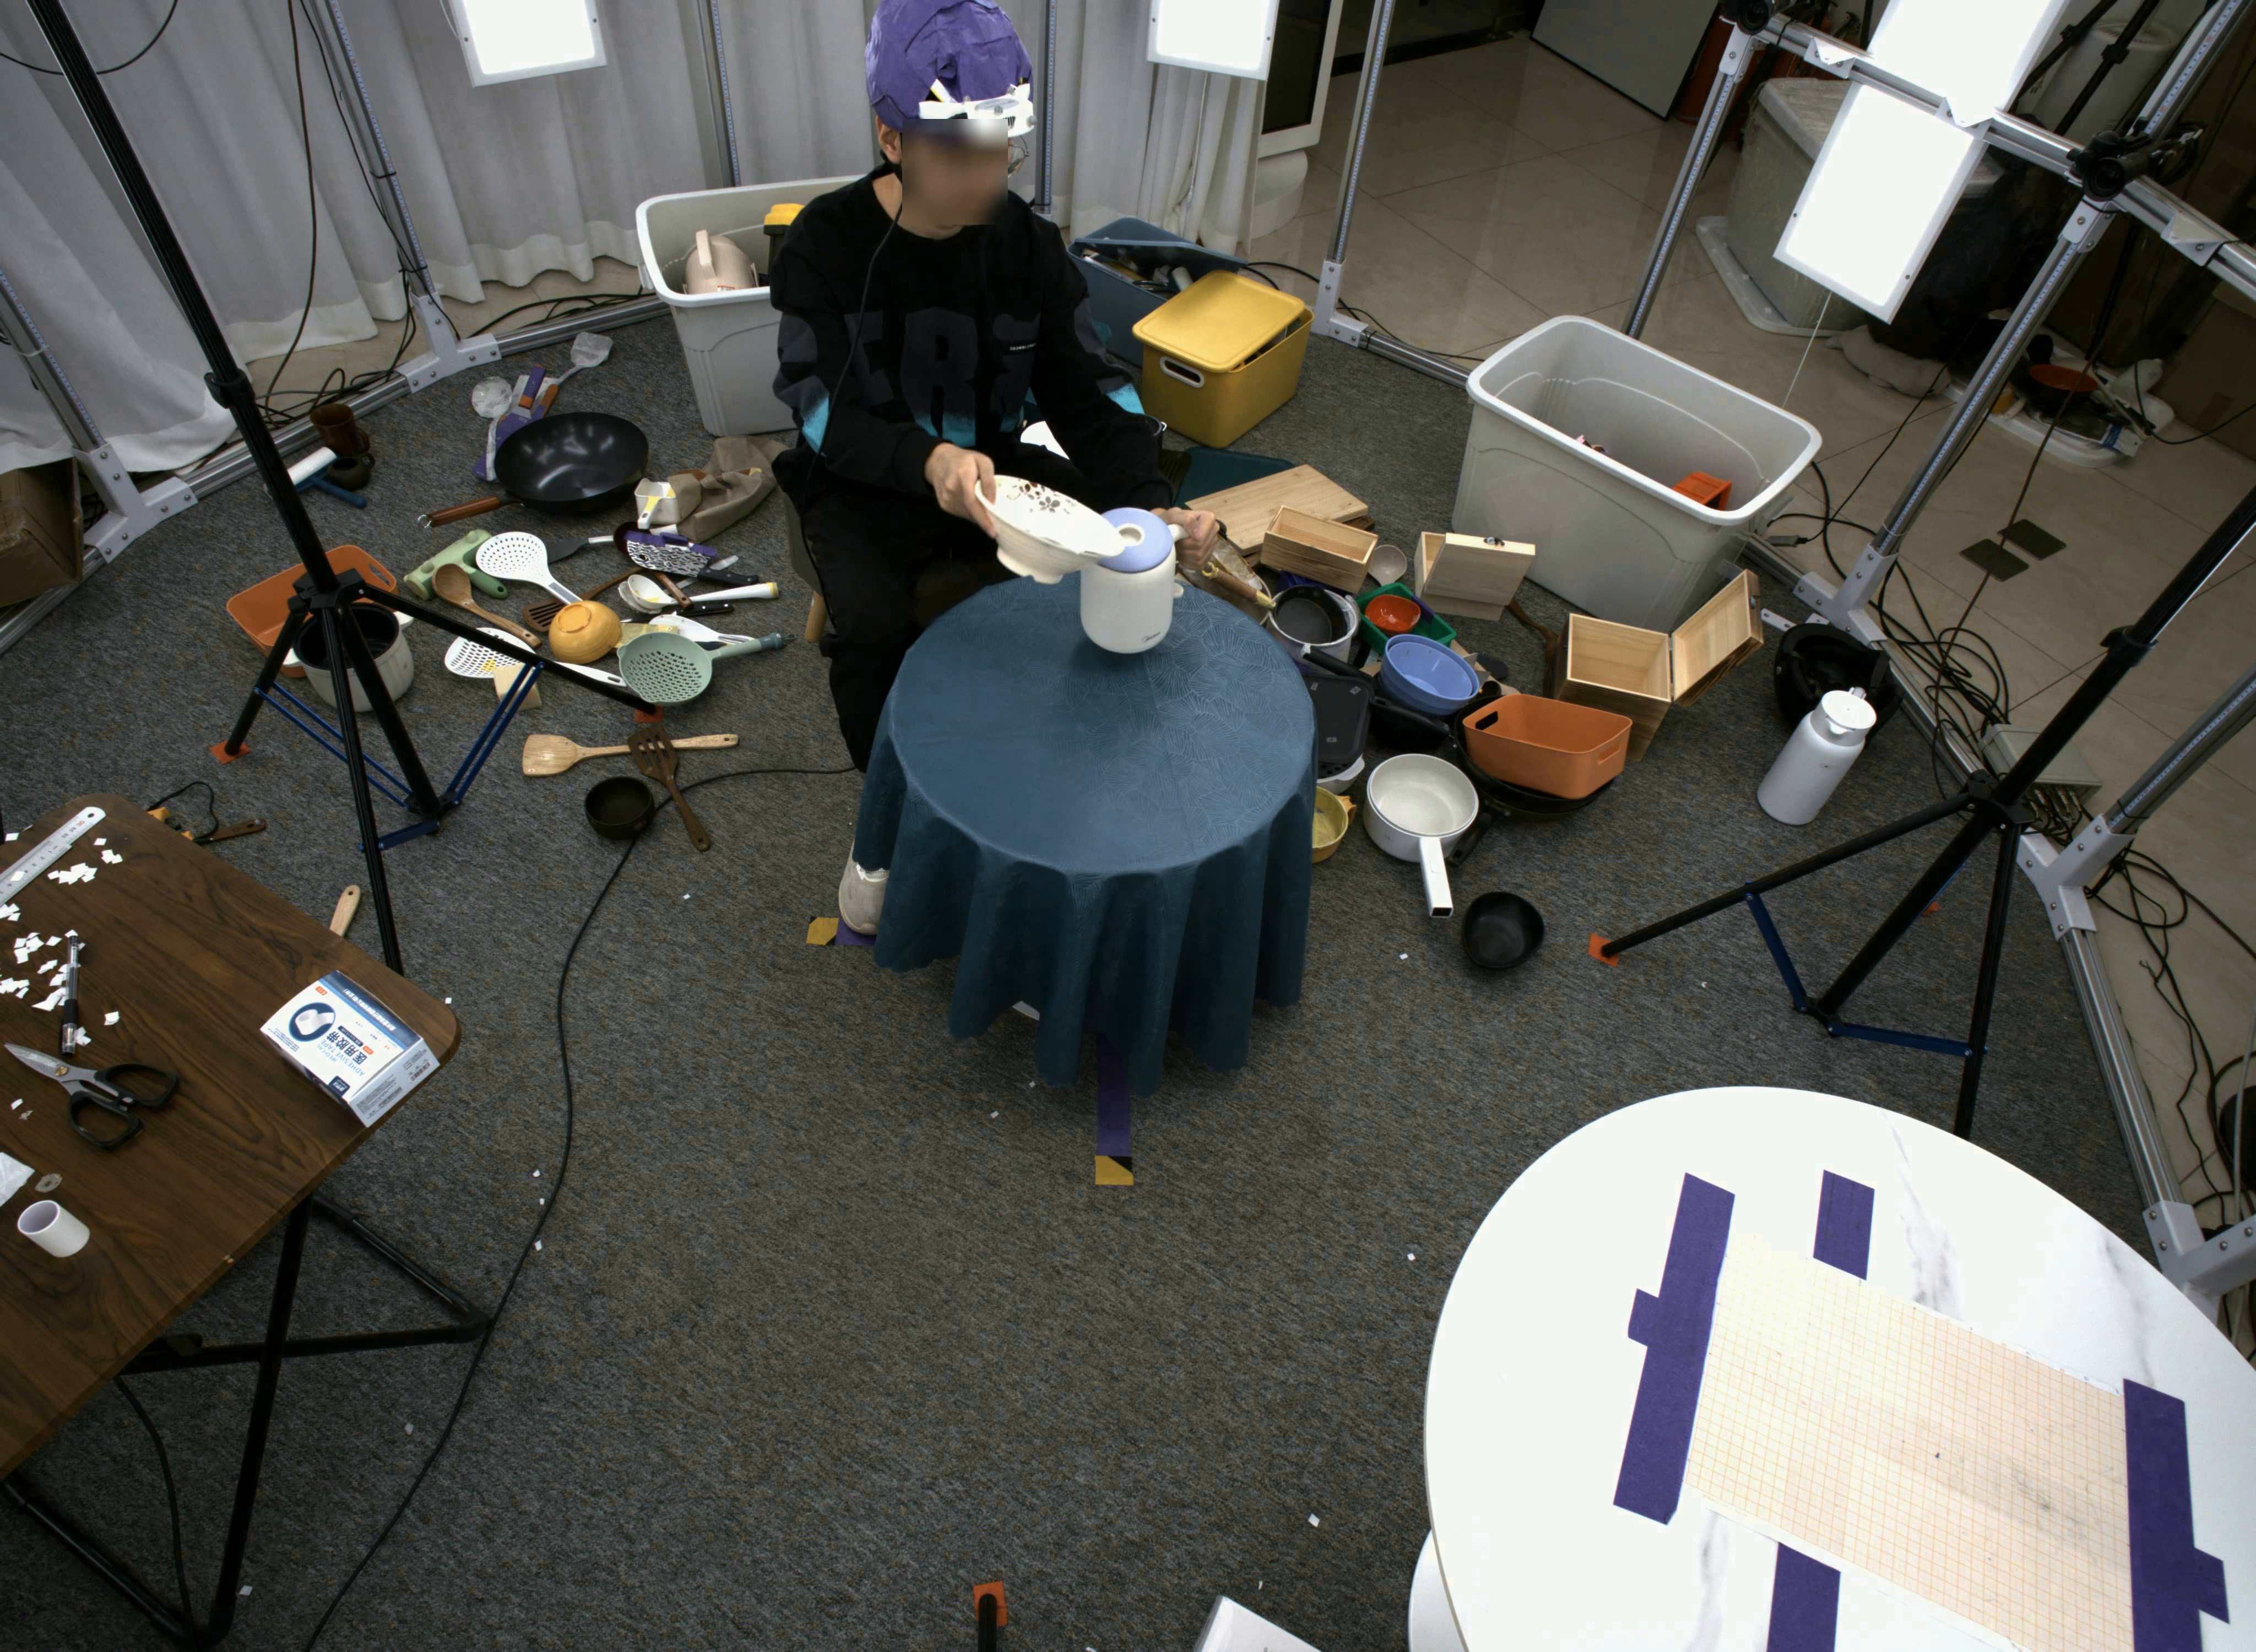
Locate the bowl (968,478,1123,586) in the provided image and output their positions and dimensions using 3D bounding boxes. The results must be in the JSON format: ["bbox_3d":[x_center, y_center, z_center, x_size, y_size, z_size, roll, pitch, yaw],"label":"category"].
[{"bbox_3d":[-0.113,-0.355,1.614,0.203,0.077,0.208,19,26,-10],"label":"bowl"}]

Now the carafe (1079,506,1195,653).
[{"bbox_3d":[0.018,-0.355,1.809,0.192,0.178,0.134,-28,62,-21],"label":"carafe"}]
